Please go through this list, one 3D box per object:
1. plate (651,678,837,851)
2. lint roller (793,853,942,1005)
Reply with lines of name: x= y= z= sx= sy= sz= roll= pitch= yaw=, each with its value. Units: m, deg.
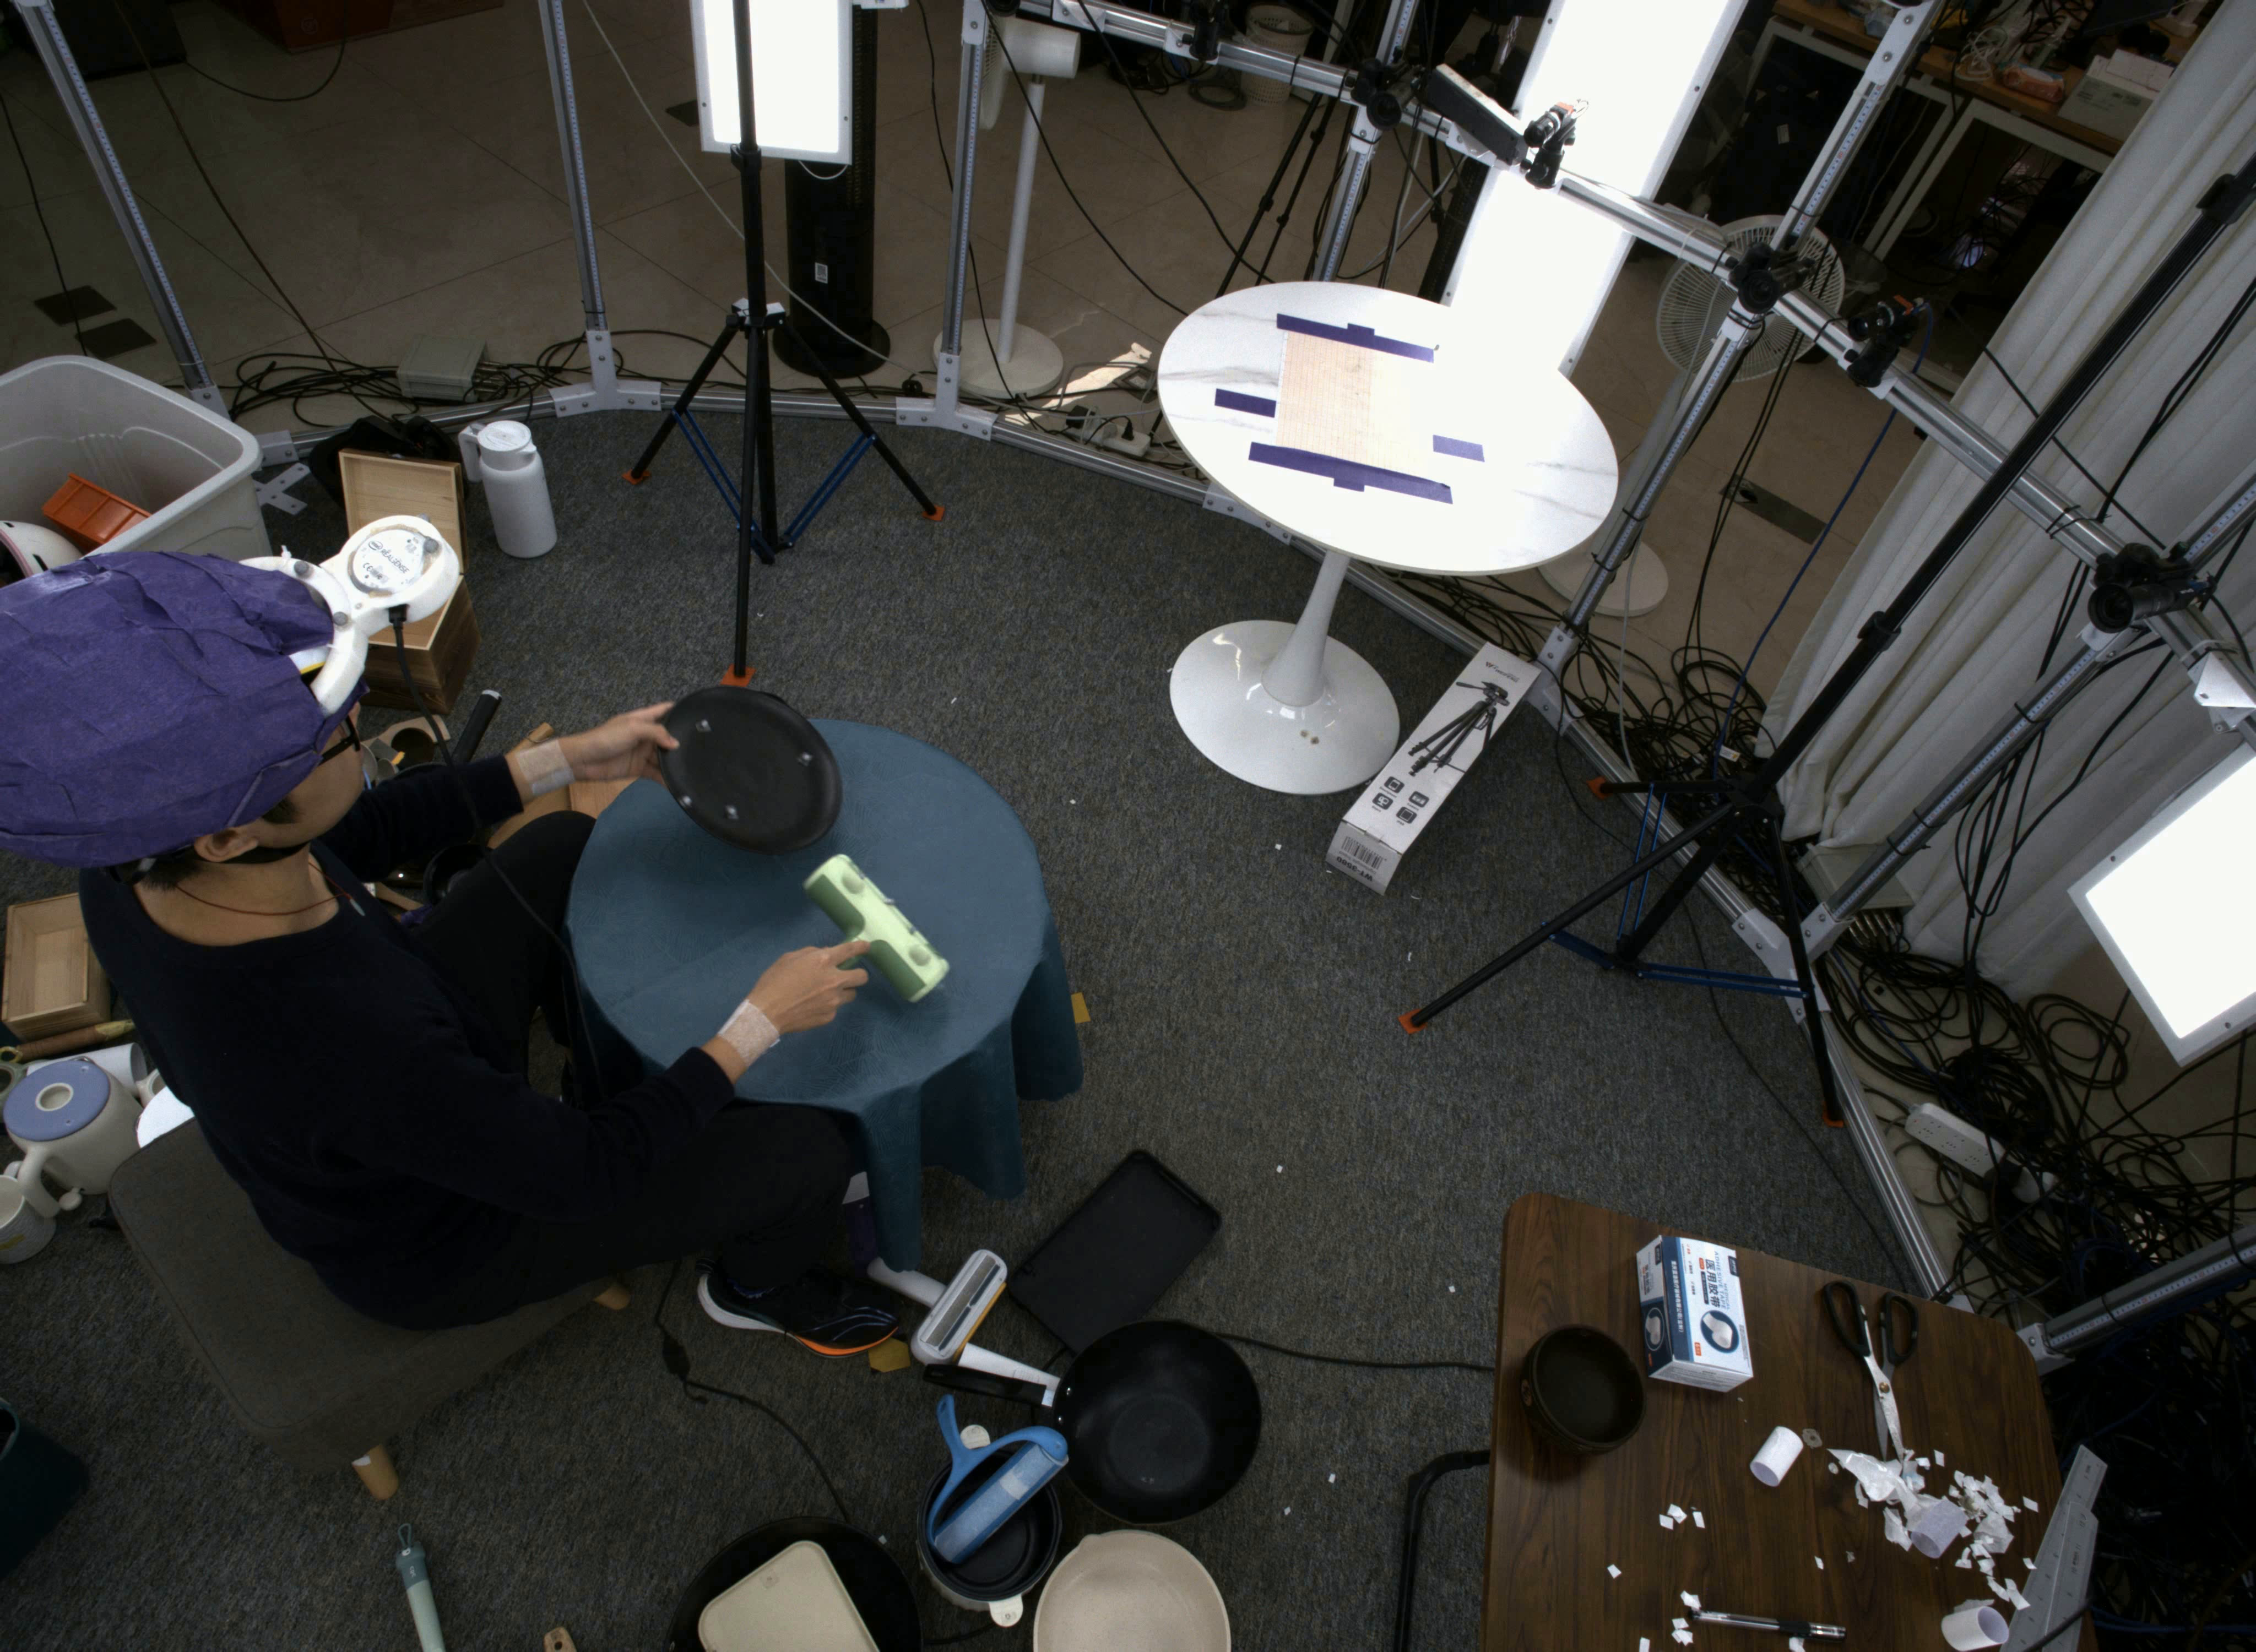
plate: x=-0.474 y=-0.074 z=1.594 sx=0.251 sy=0.023 sz=0.240 roll=28 pitch=46 yaw=-30
lint roller: x=-0.316 y=0.136 z=1.489 sx=0.201 sy=0.082 sz=0.182 roll=48 pitch=28 yaw=-8
